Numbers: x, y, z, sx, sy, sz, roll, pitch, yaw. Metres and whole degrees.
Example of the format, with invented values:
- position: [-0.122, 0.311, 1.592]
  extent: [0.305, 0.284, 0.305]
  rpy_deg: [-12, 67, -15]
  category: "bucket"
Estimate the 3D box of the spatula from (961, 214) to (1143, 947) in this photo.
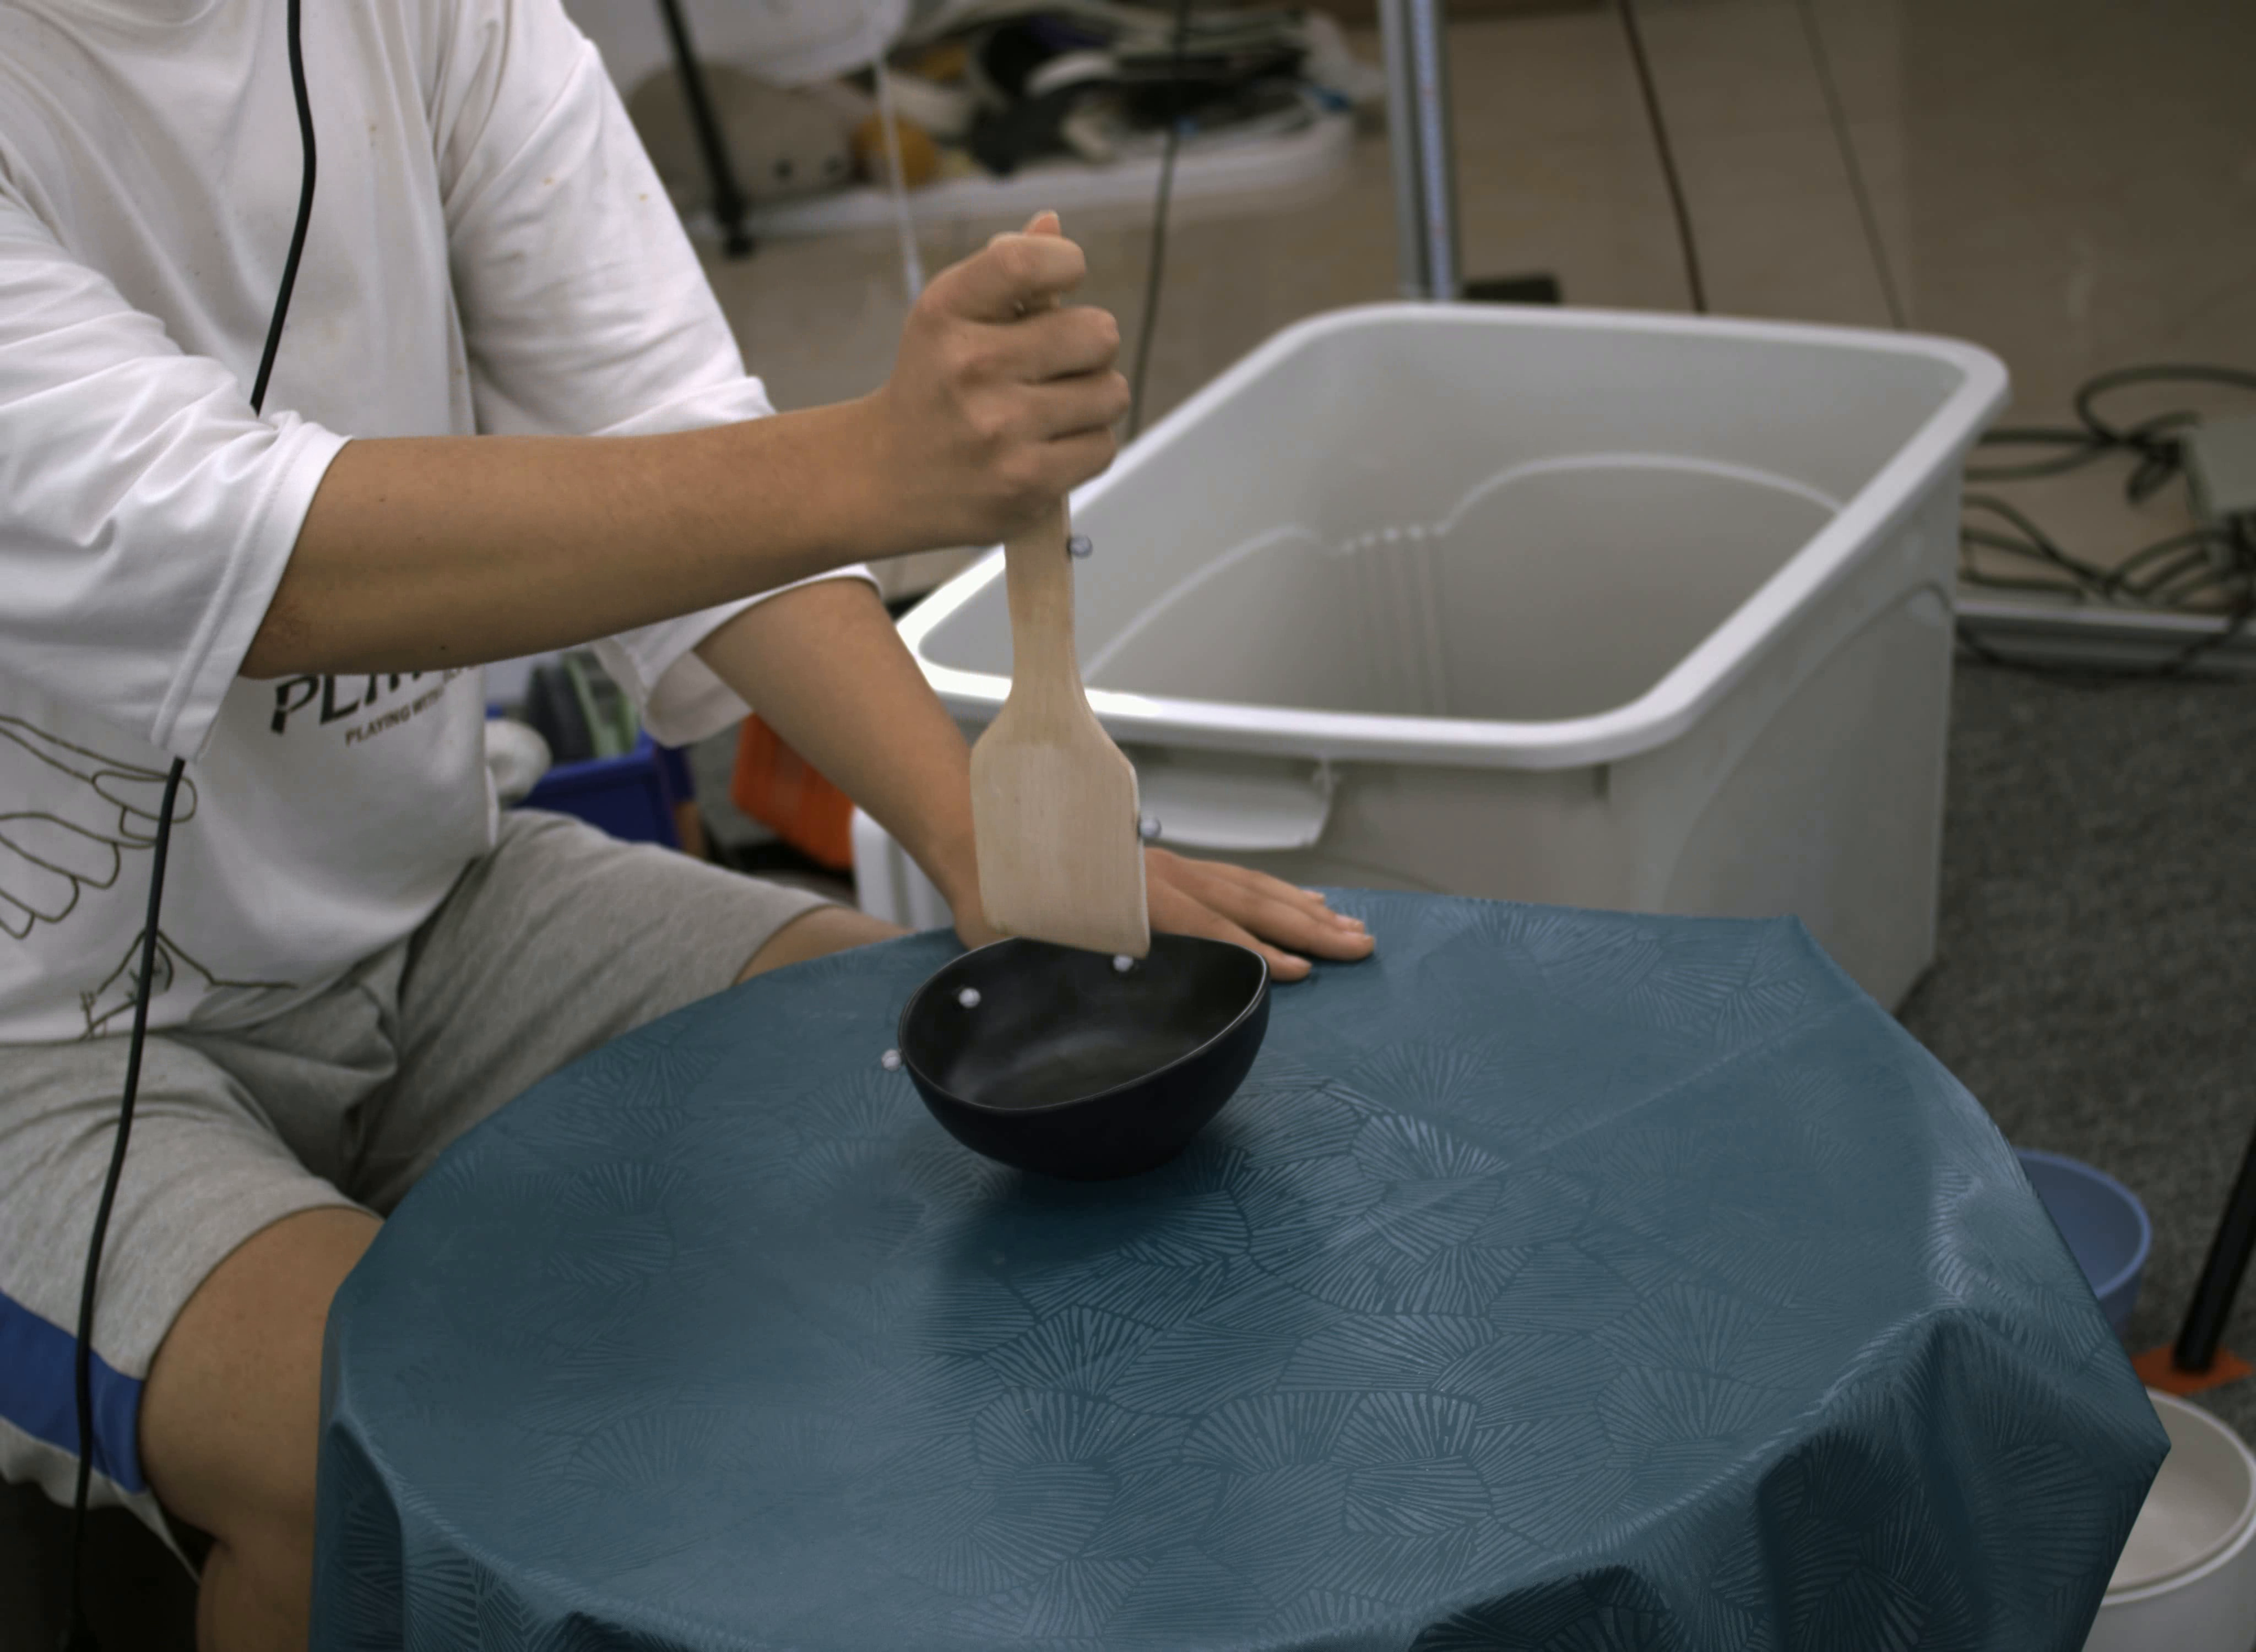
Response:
- position: [-0.034, -0.087, 2.080]
  extent: [0.072, 0.298, 0.010]
  rpy_deg: [10, 32, 24]
  category: "spatula"

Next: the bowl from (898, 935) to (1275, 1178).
- position: [-0.012, 0.092, 2.174]
  extent: [0.137, 0.068, 0.168]
  rpy_deg: [6, 26, 26]
  category: "bowl"
